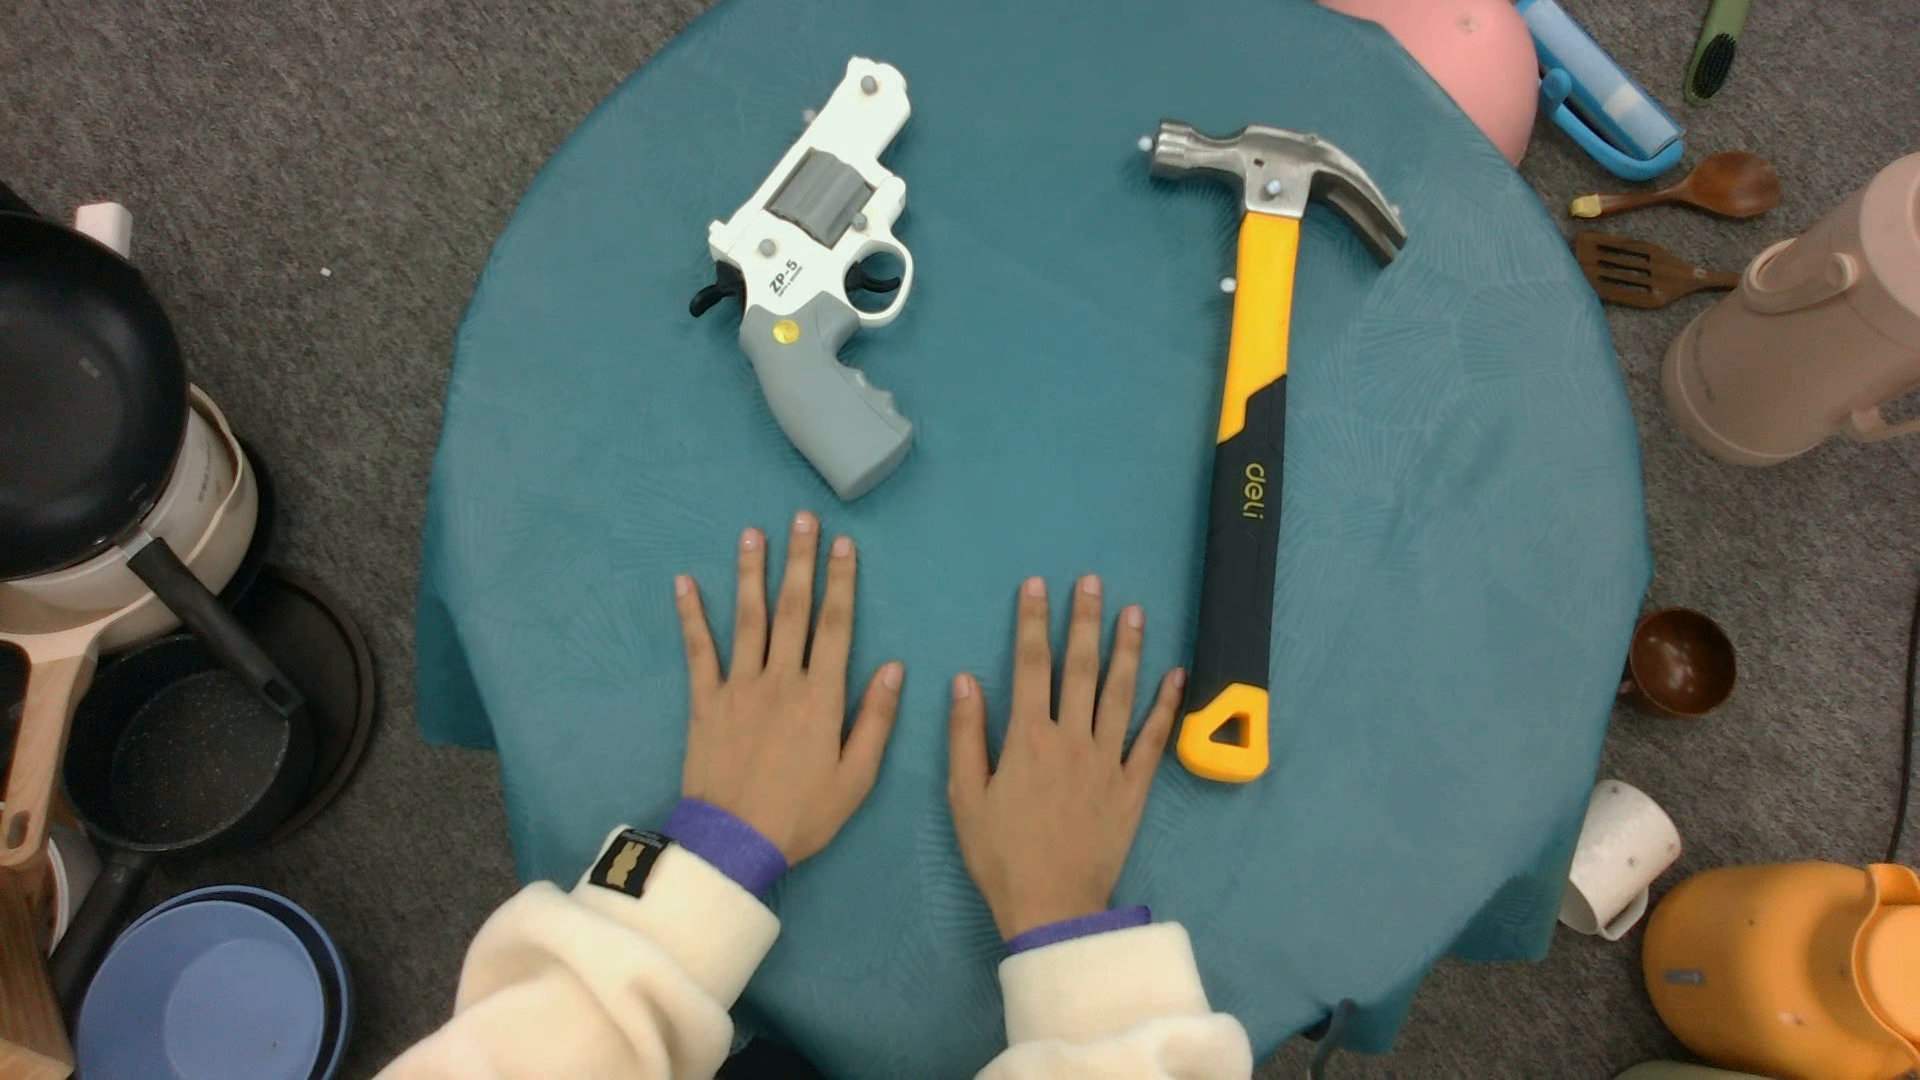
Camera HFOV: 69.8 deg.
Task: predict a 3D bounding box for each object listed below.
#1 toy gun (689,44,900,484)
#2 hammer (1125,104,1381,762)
[{"bbox_3d":[-0.061,-0.143,0.687,0.141,0.038,0.209,29,74,5],"label":"toy gun"},{"bbox_3d":[0.135,-0.060,0.675,0.131,0.032,0.339,8,71,-3],"label":"hammer"}]
